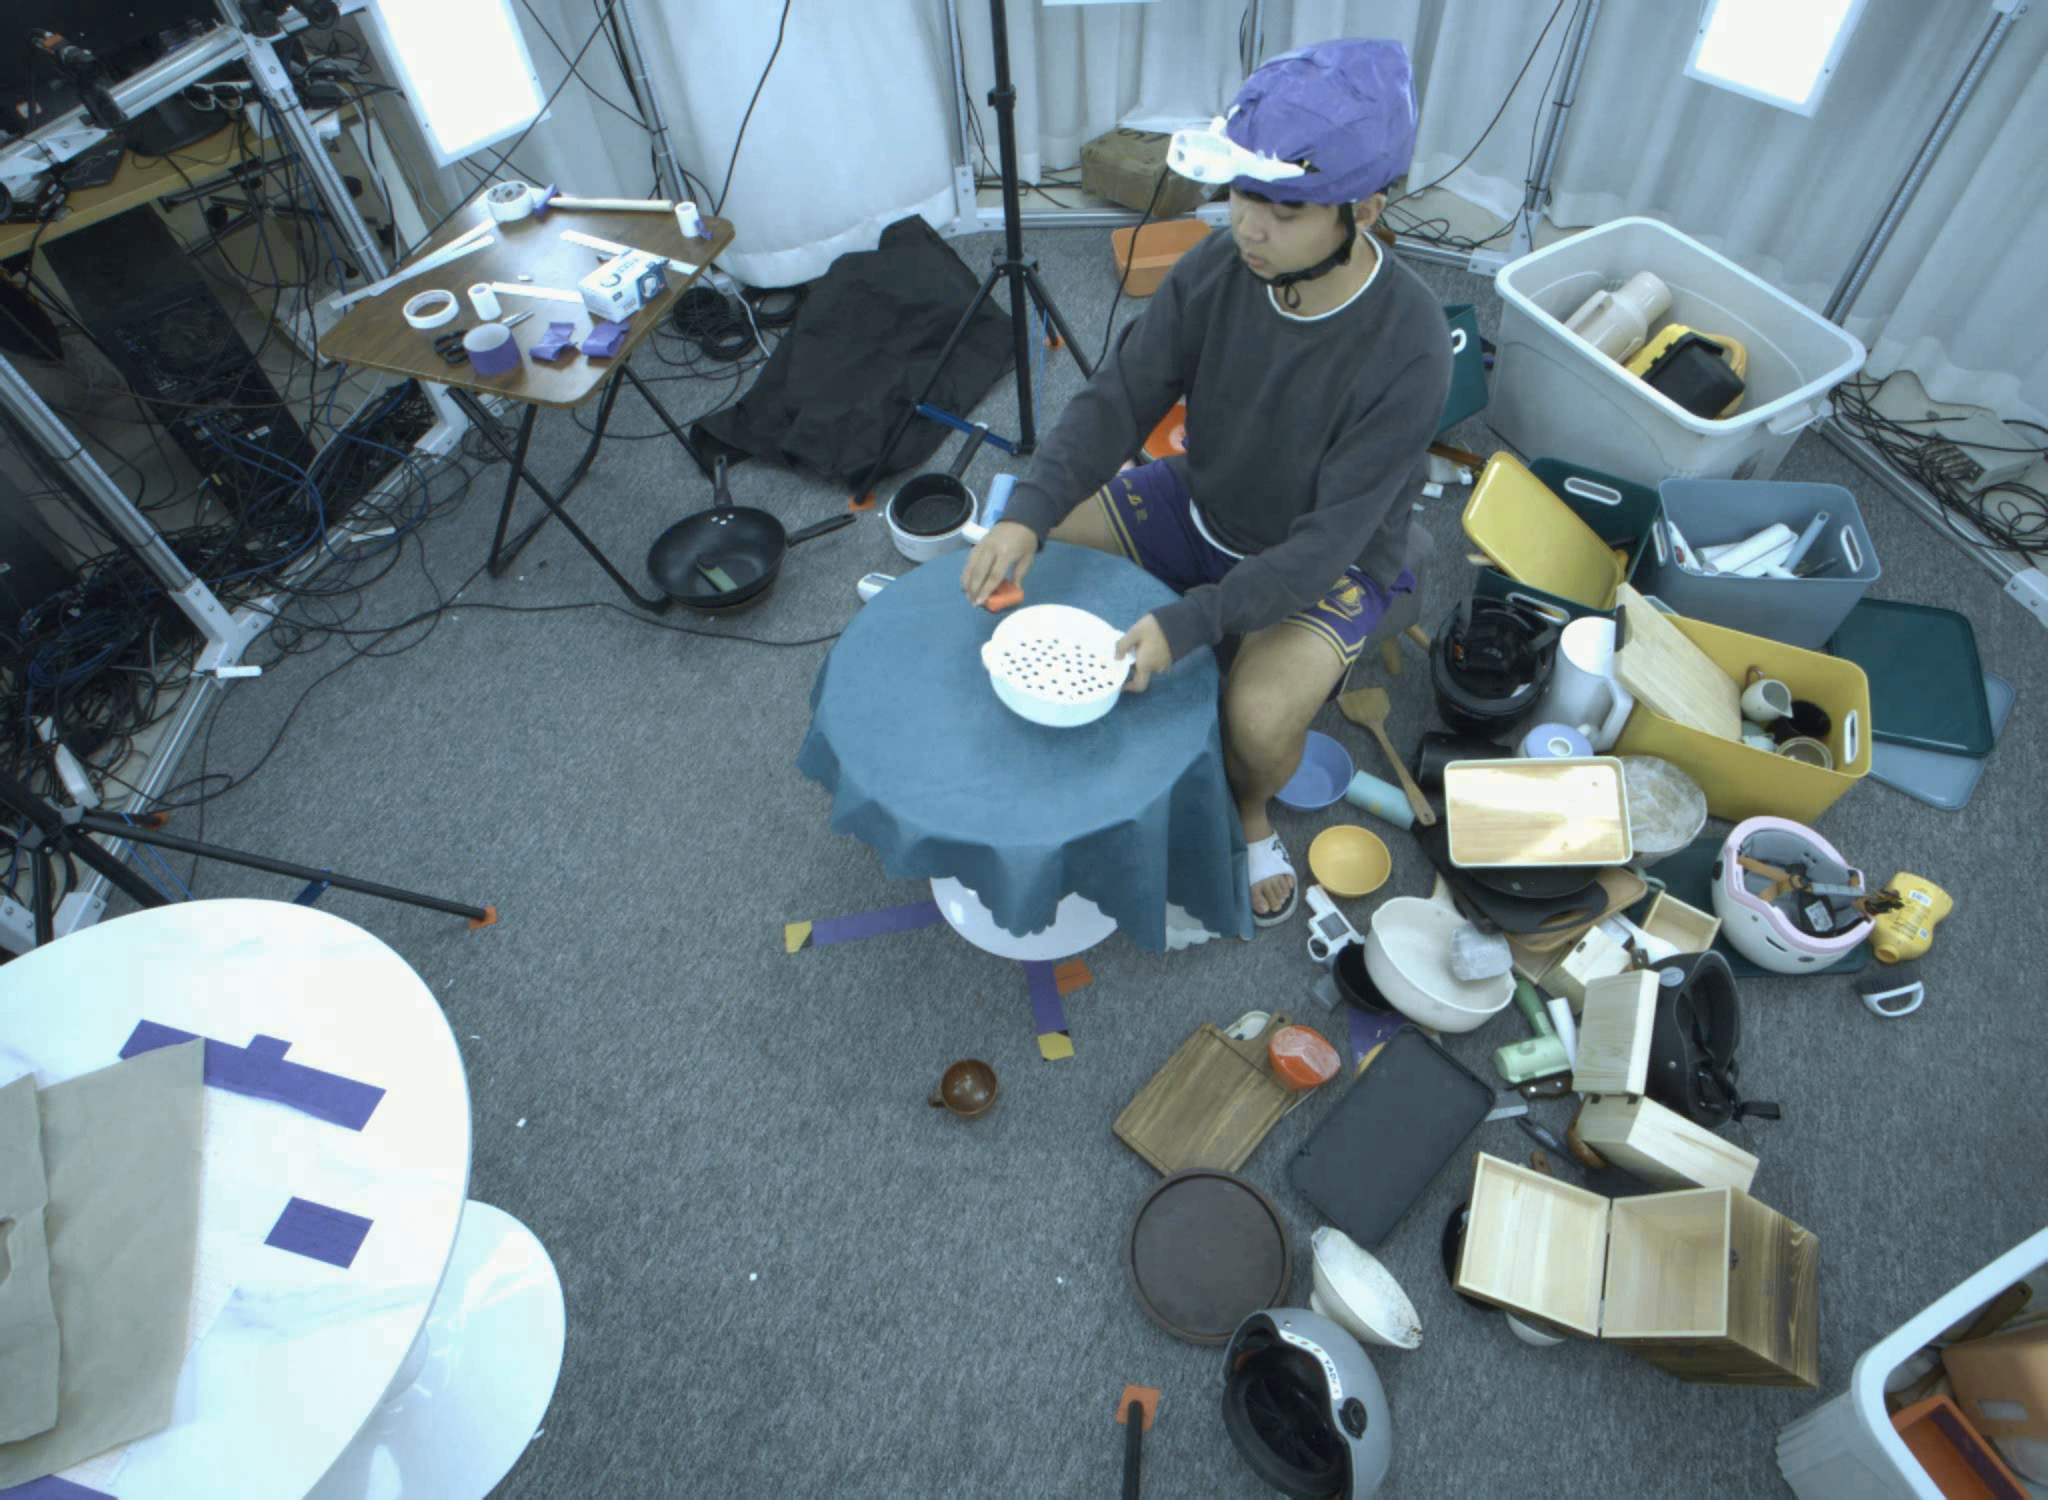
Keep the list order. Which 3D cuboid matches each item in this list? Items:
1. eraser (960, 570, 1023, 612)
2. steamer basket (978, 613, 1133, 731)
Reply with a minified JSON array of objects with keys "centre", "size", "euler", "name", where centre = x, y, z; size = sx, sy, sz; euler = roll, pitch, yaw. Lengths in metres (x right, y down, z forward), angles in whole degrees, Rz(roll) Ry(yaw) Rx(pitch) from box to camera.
[{"centre":[-0.050,-0.240,1.845],"size":[0.060,0.023,0.105],"euler":[-16,35,-28],"name":"eraser"},{"centre":[0.042,-0.112,1.794],"size":[0.234,0.069,0.198],"euler":[-5,48,-20],"name":"steamer basket"}]
